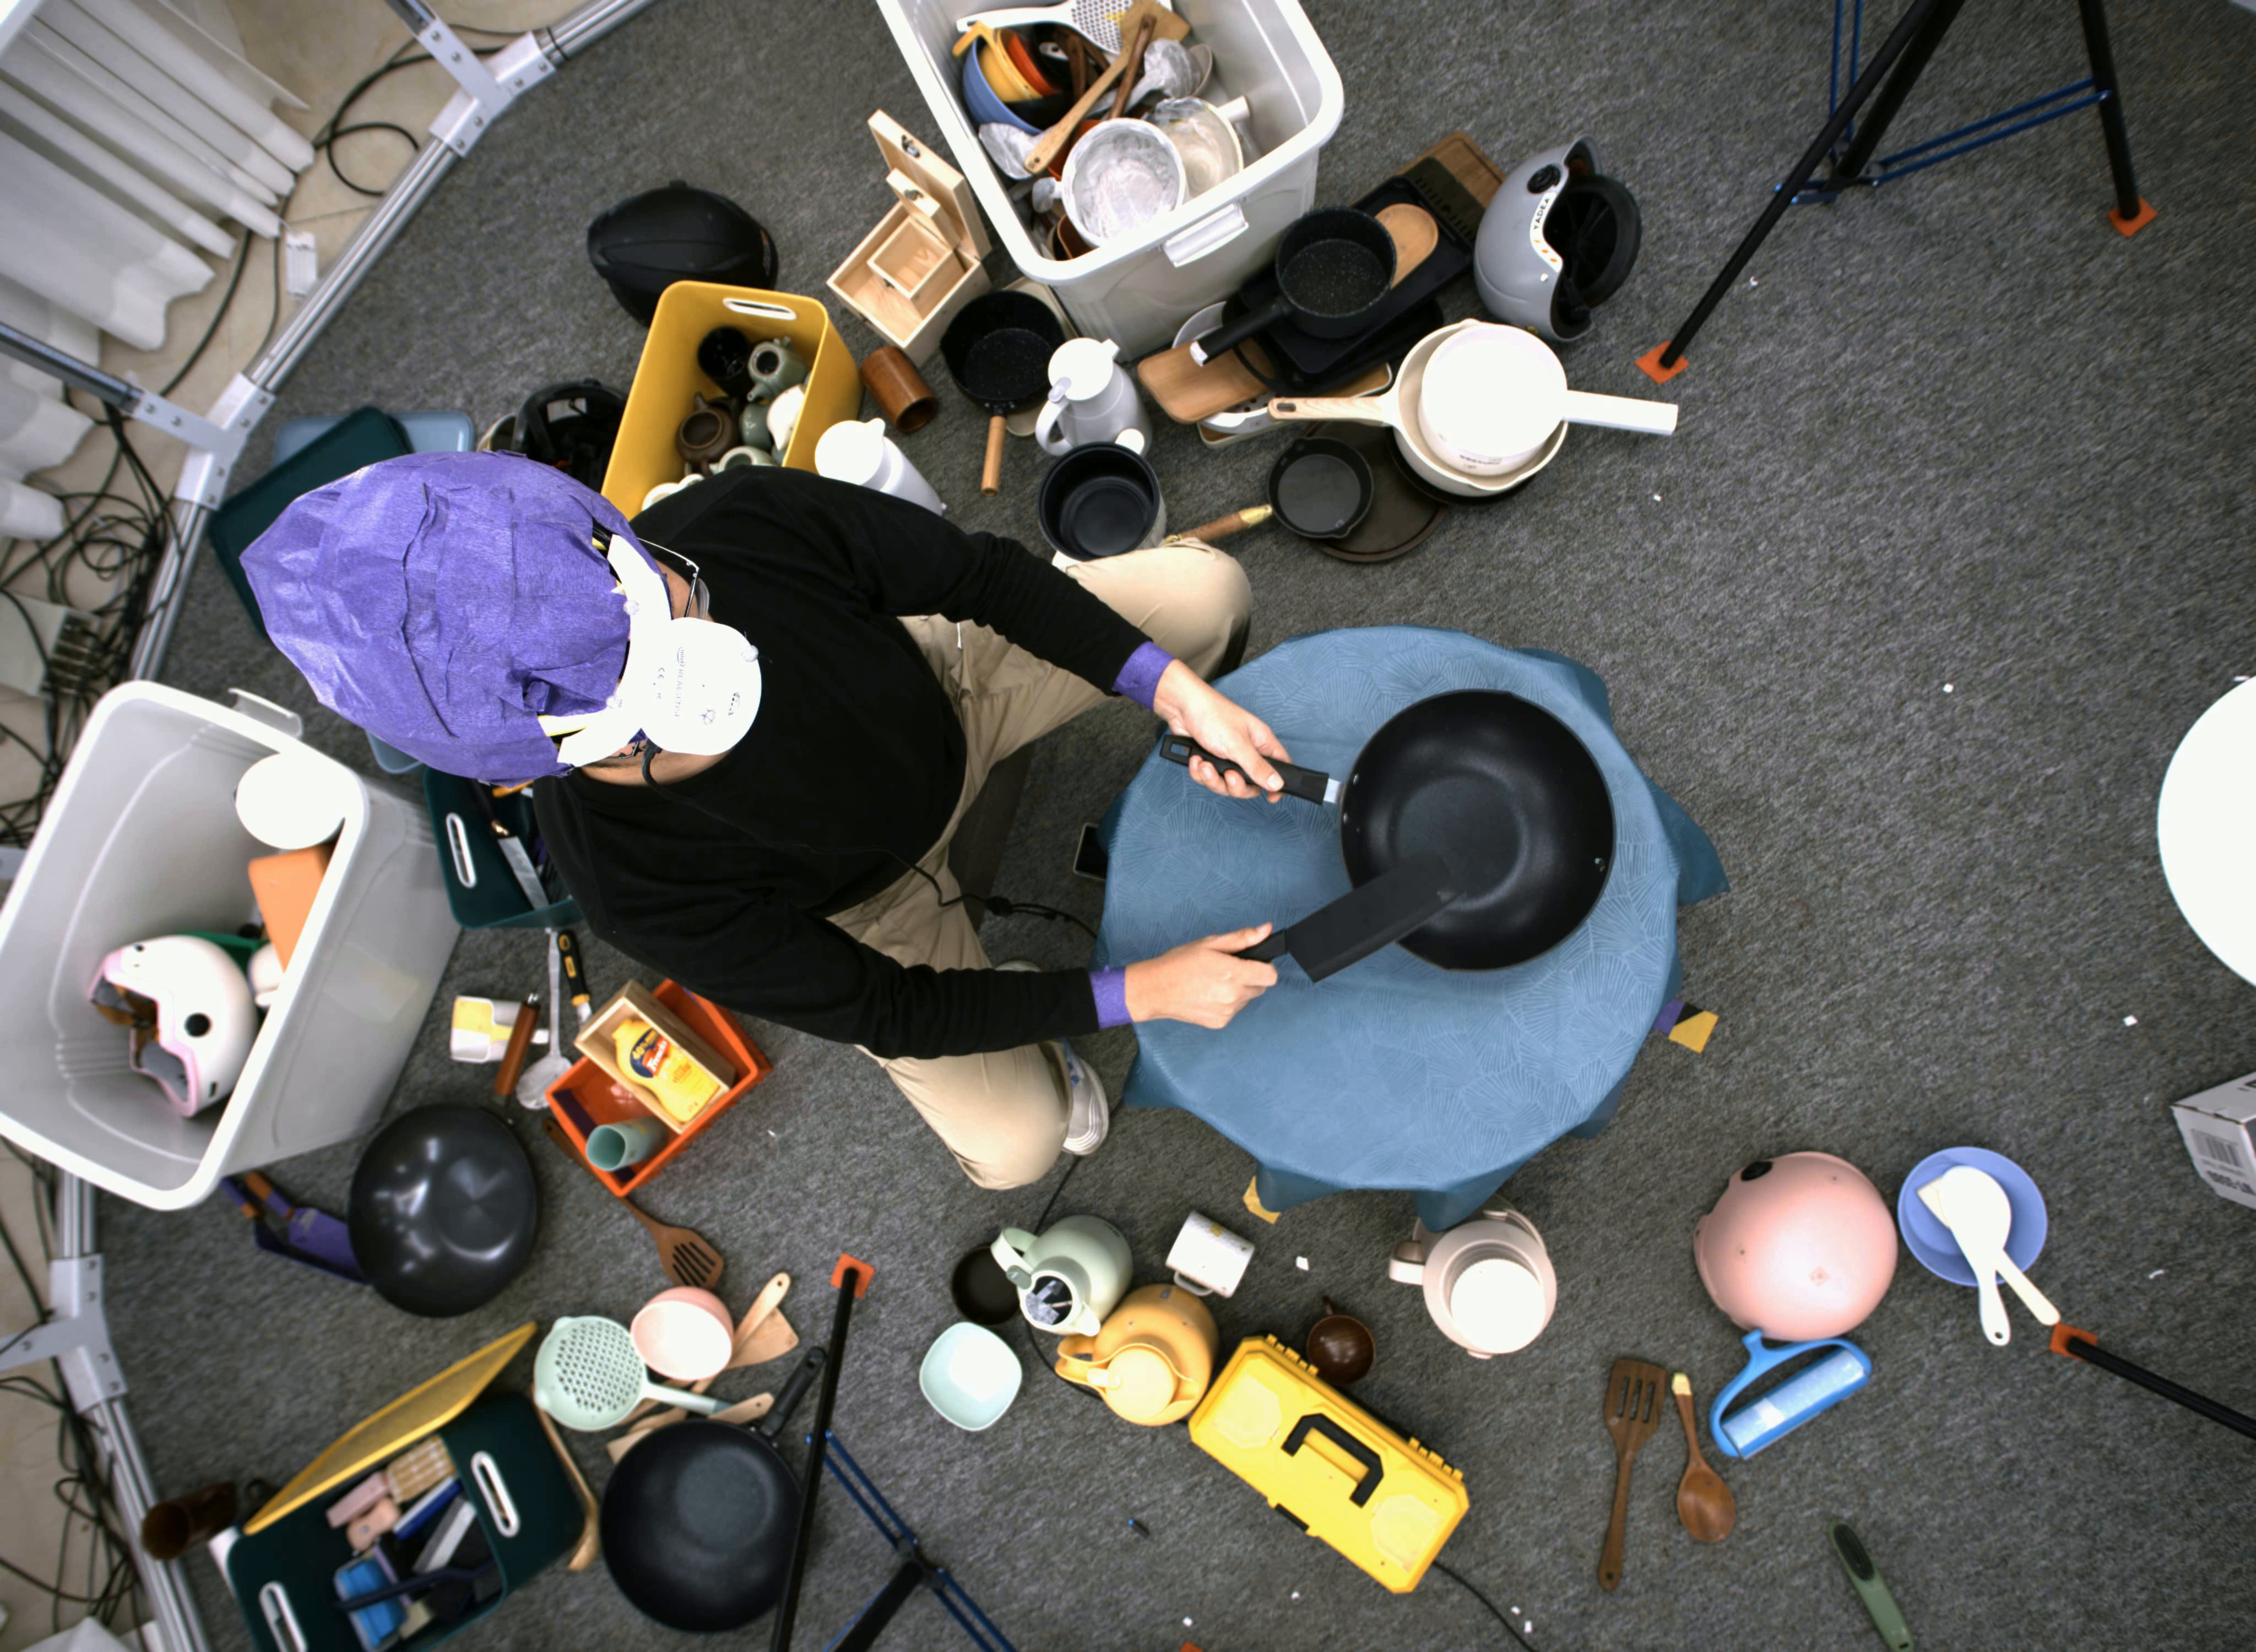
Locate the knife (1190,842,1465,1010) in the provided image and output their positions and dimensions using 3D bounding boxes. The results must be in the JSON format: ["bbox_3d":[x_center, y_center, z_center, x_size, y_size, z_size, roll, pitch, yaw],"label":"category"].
[{"bbox_3d":[0.187,0.110,1.363,0.307,0.020,0.081,-29,104,25],"label":"knife"}]

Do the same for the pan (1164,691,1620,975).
[{"bbox_3d":[0.260,-0.017,1.399,0.464,0.087,0.287,15,87,2],"label":"pan"}]
